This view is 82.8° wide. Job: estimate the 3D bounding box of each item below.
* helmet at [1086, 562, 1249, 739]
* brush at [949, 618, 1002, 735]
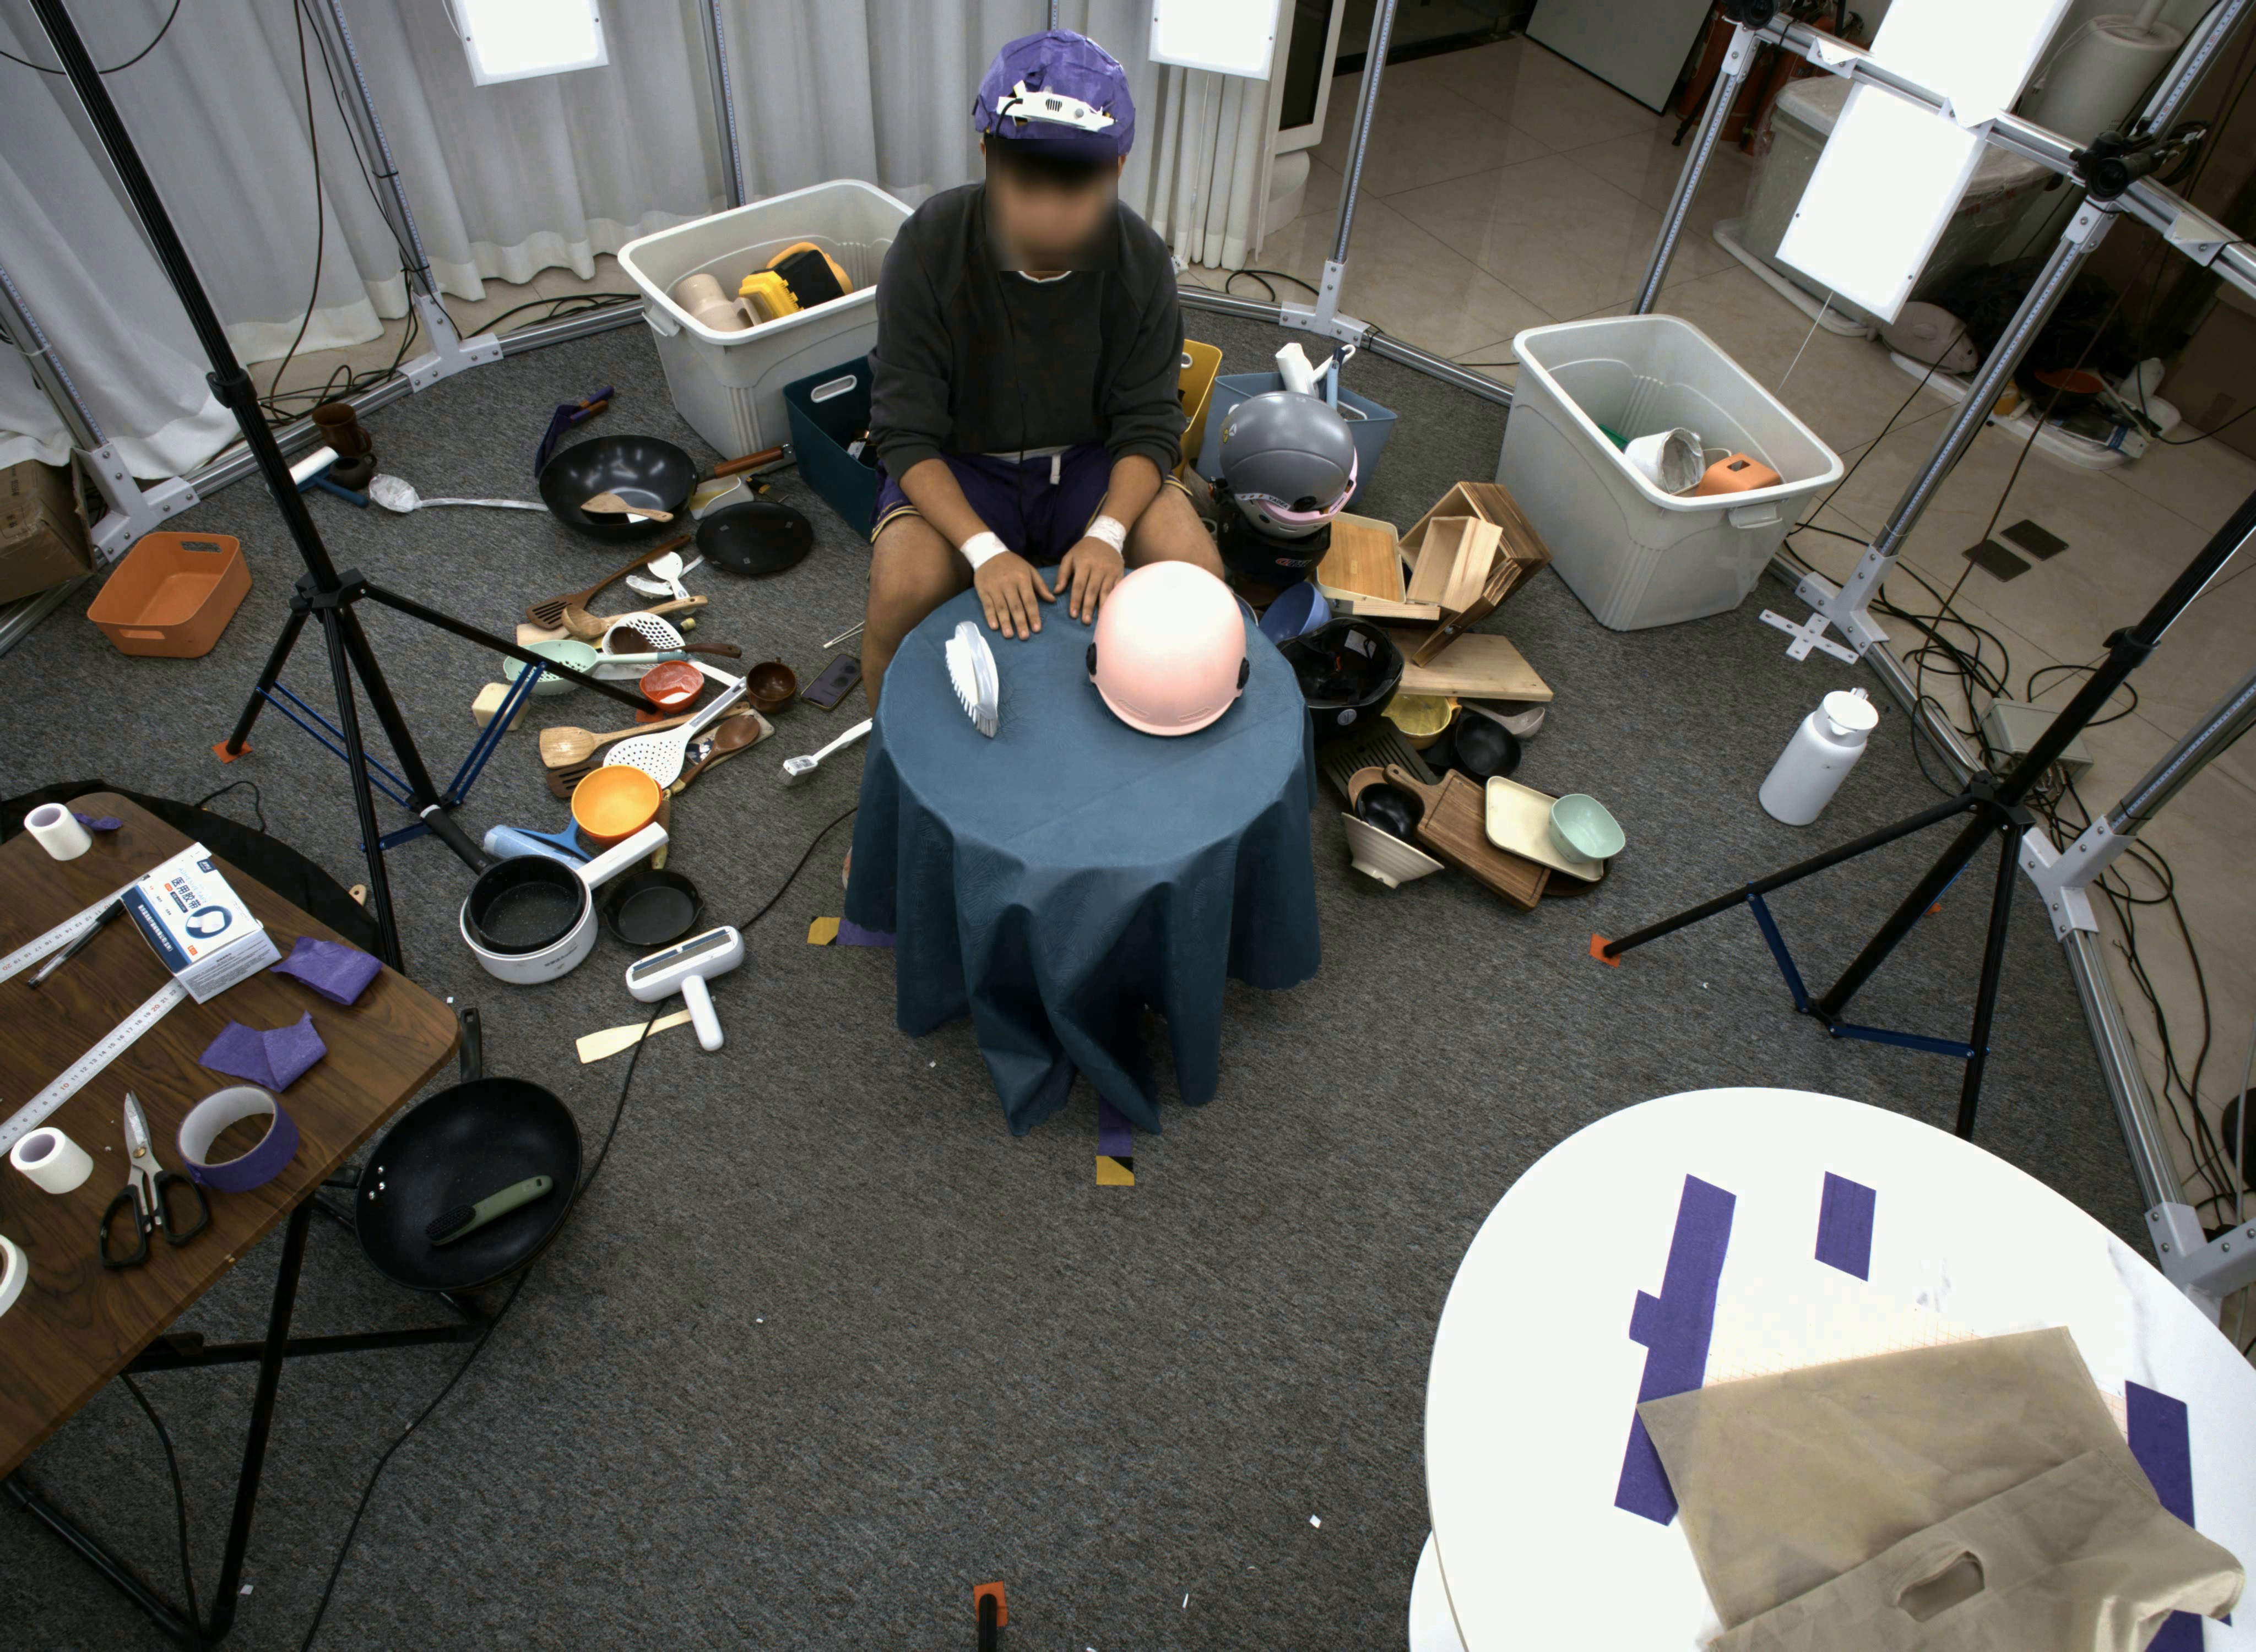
[{"bbox_3d":[0.060,-0.268,1.806,0.234,0.155,0.272,5,52,0],"label":"helmet"},{"bbox_3d":[-0.207,-0.216,1.782,0.061,0.092,0.180,-11,52,-12],"label":"brush"}]
